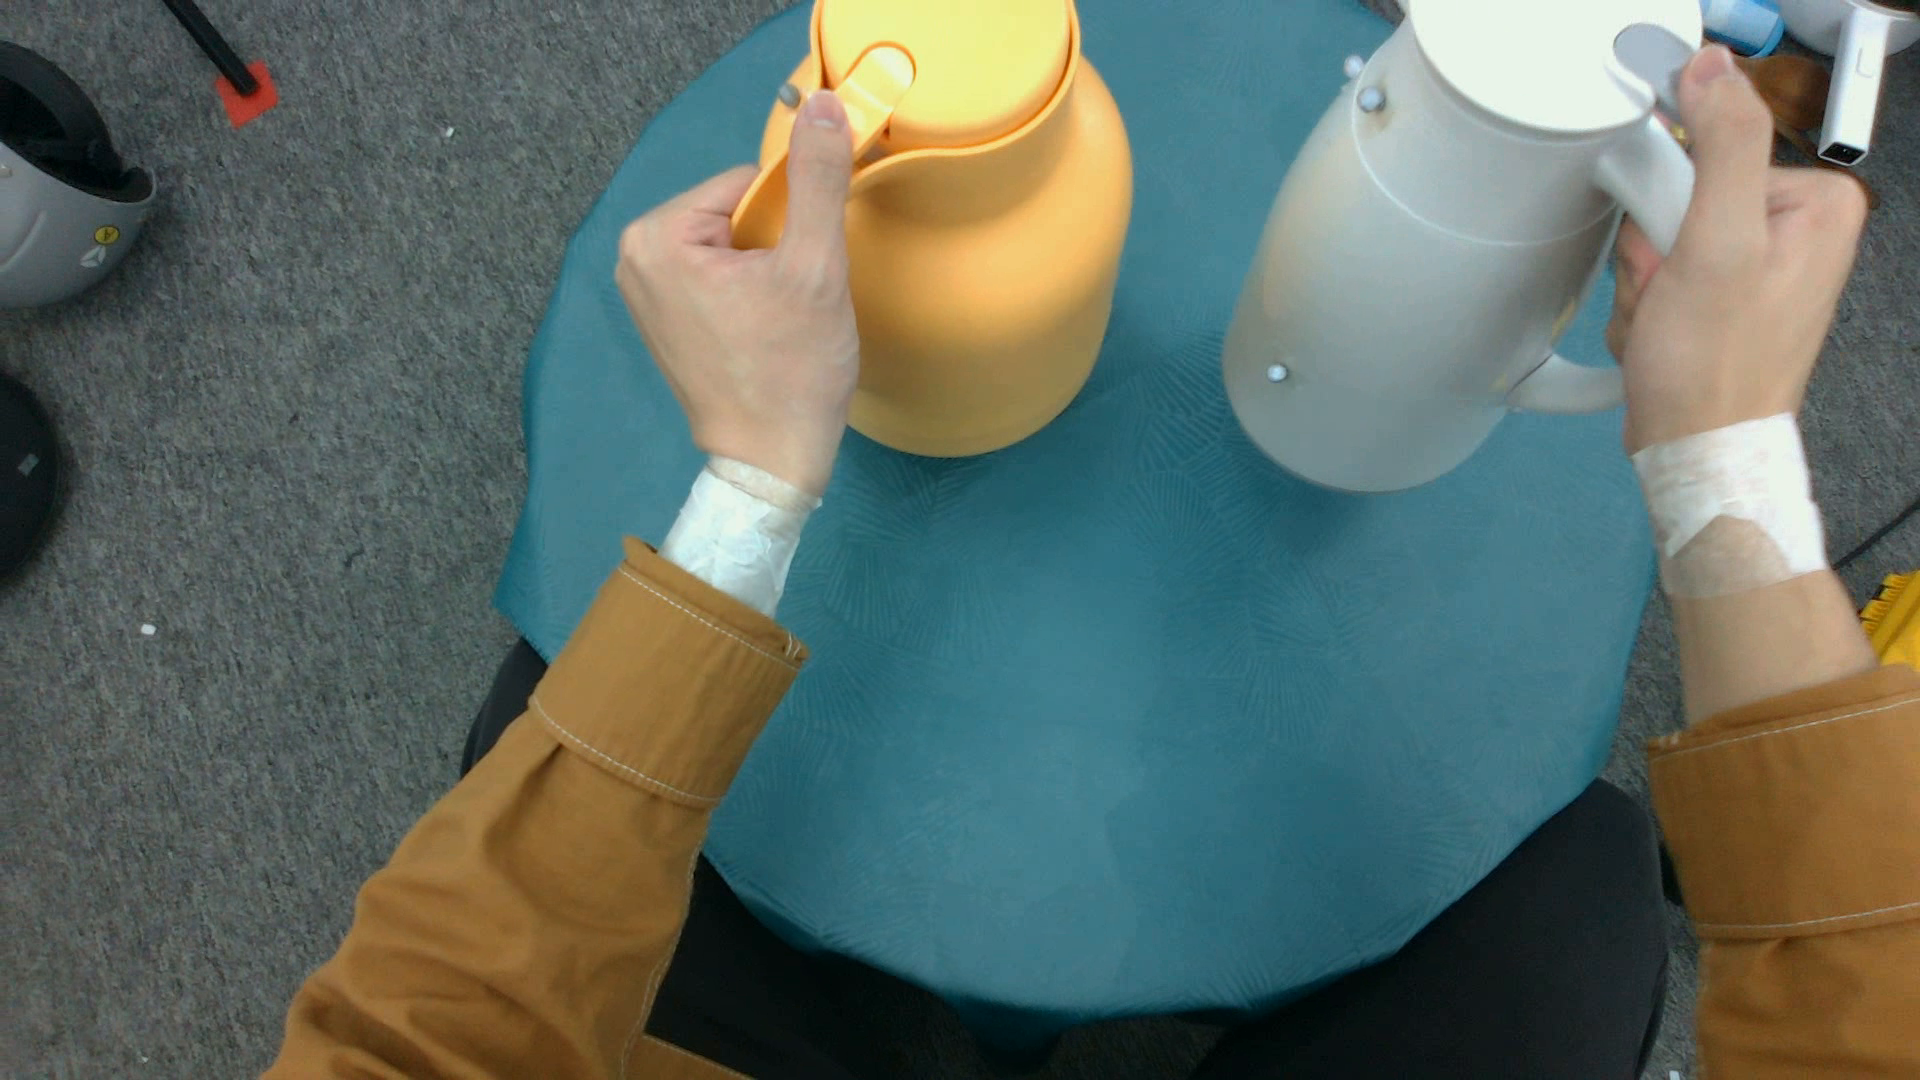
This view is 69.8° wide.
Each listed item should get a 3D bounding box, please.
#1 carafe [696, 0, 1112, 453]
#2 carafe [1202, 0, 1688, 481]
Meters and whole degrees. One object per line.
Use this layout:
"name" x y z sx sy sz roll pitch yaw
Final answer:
"carafe" -0.029 -0.138 0.603 0.163 0.259 0.203 40 75 12
"carafe" 0.196 -0.119 0.551 0.133 0.248 0.168 -40 75 -14
